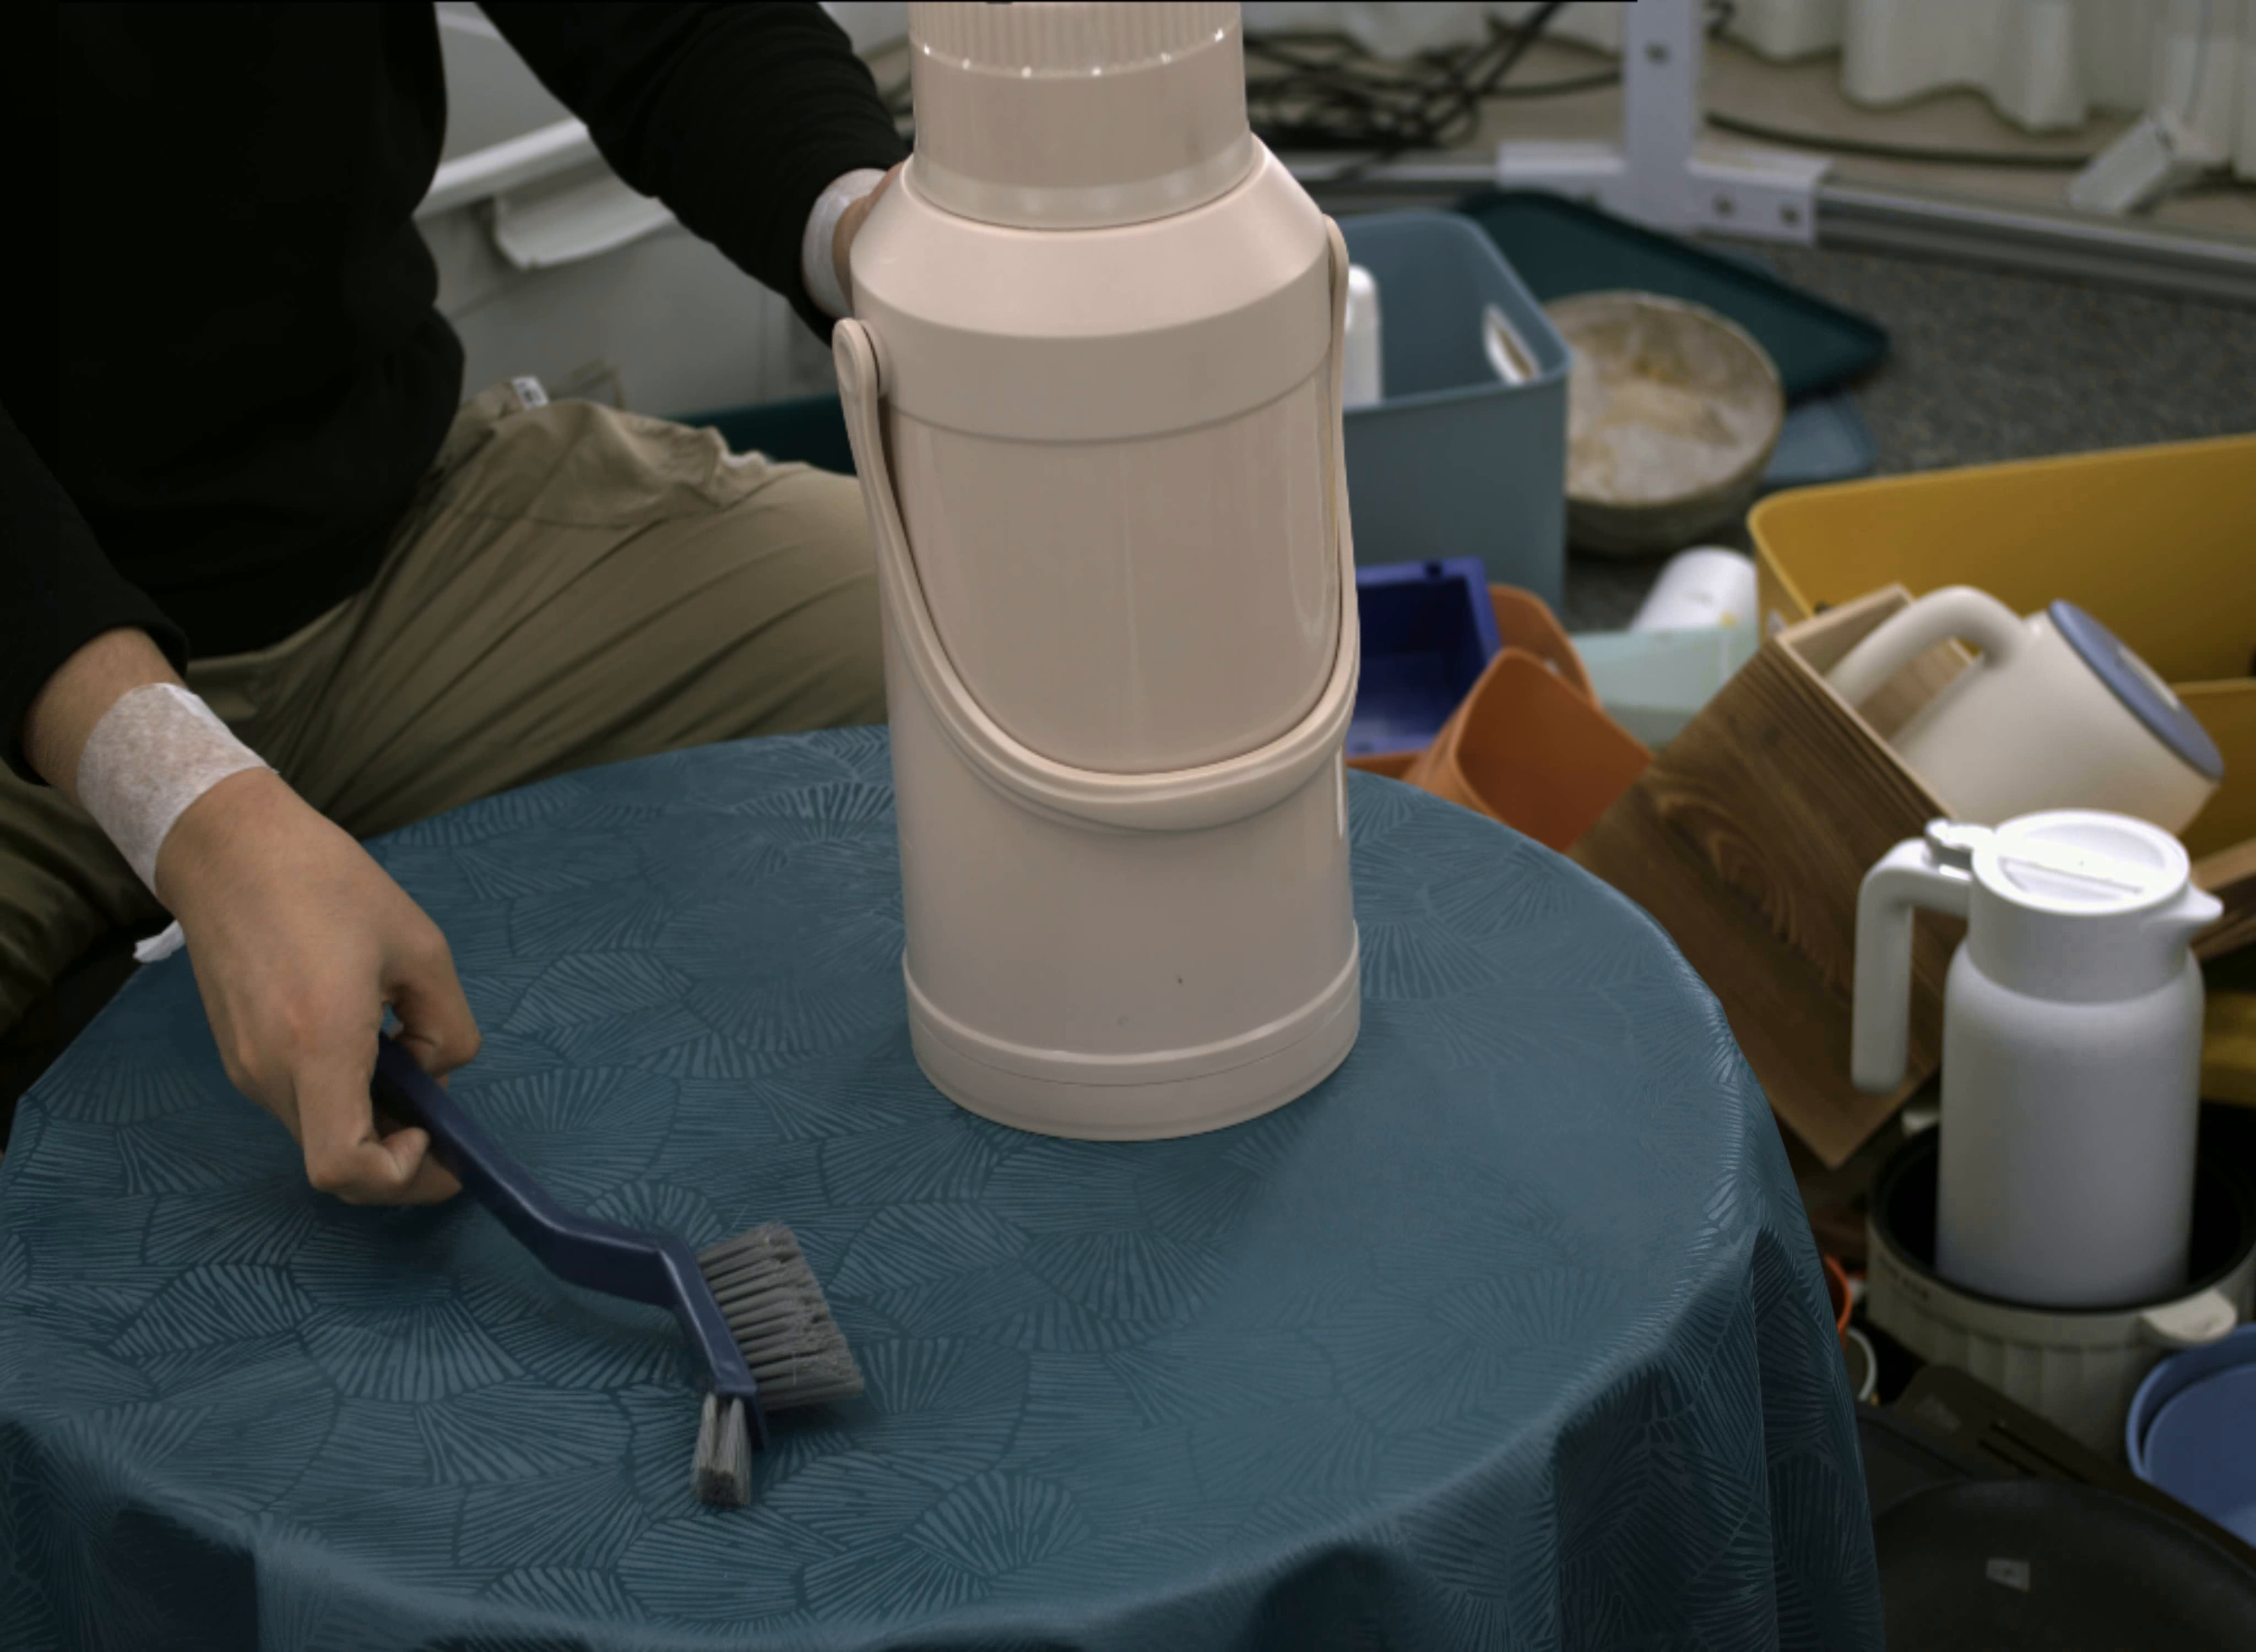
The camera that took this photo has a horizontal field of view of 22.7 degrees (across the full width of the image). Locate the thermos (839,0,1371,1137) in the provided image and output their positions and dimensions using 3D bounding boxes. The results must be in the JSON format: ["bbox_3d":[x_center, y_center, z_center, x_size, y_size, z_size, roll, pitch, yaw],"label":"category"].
[{"bbox_3d":[-0.010,-0.112,1.888,0.176,0.402,0.208,-16,29,-21],"label":"thermos"}]

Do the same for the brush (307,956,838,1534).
[{"bbox_3d":[-0.196,0.128,1.801,0.273,0.033,0.097,30,53,34],"label":"brush"}]
